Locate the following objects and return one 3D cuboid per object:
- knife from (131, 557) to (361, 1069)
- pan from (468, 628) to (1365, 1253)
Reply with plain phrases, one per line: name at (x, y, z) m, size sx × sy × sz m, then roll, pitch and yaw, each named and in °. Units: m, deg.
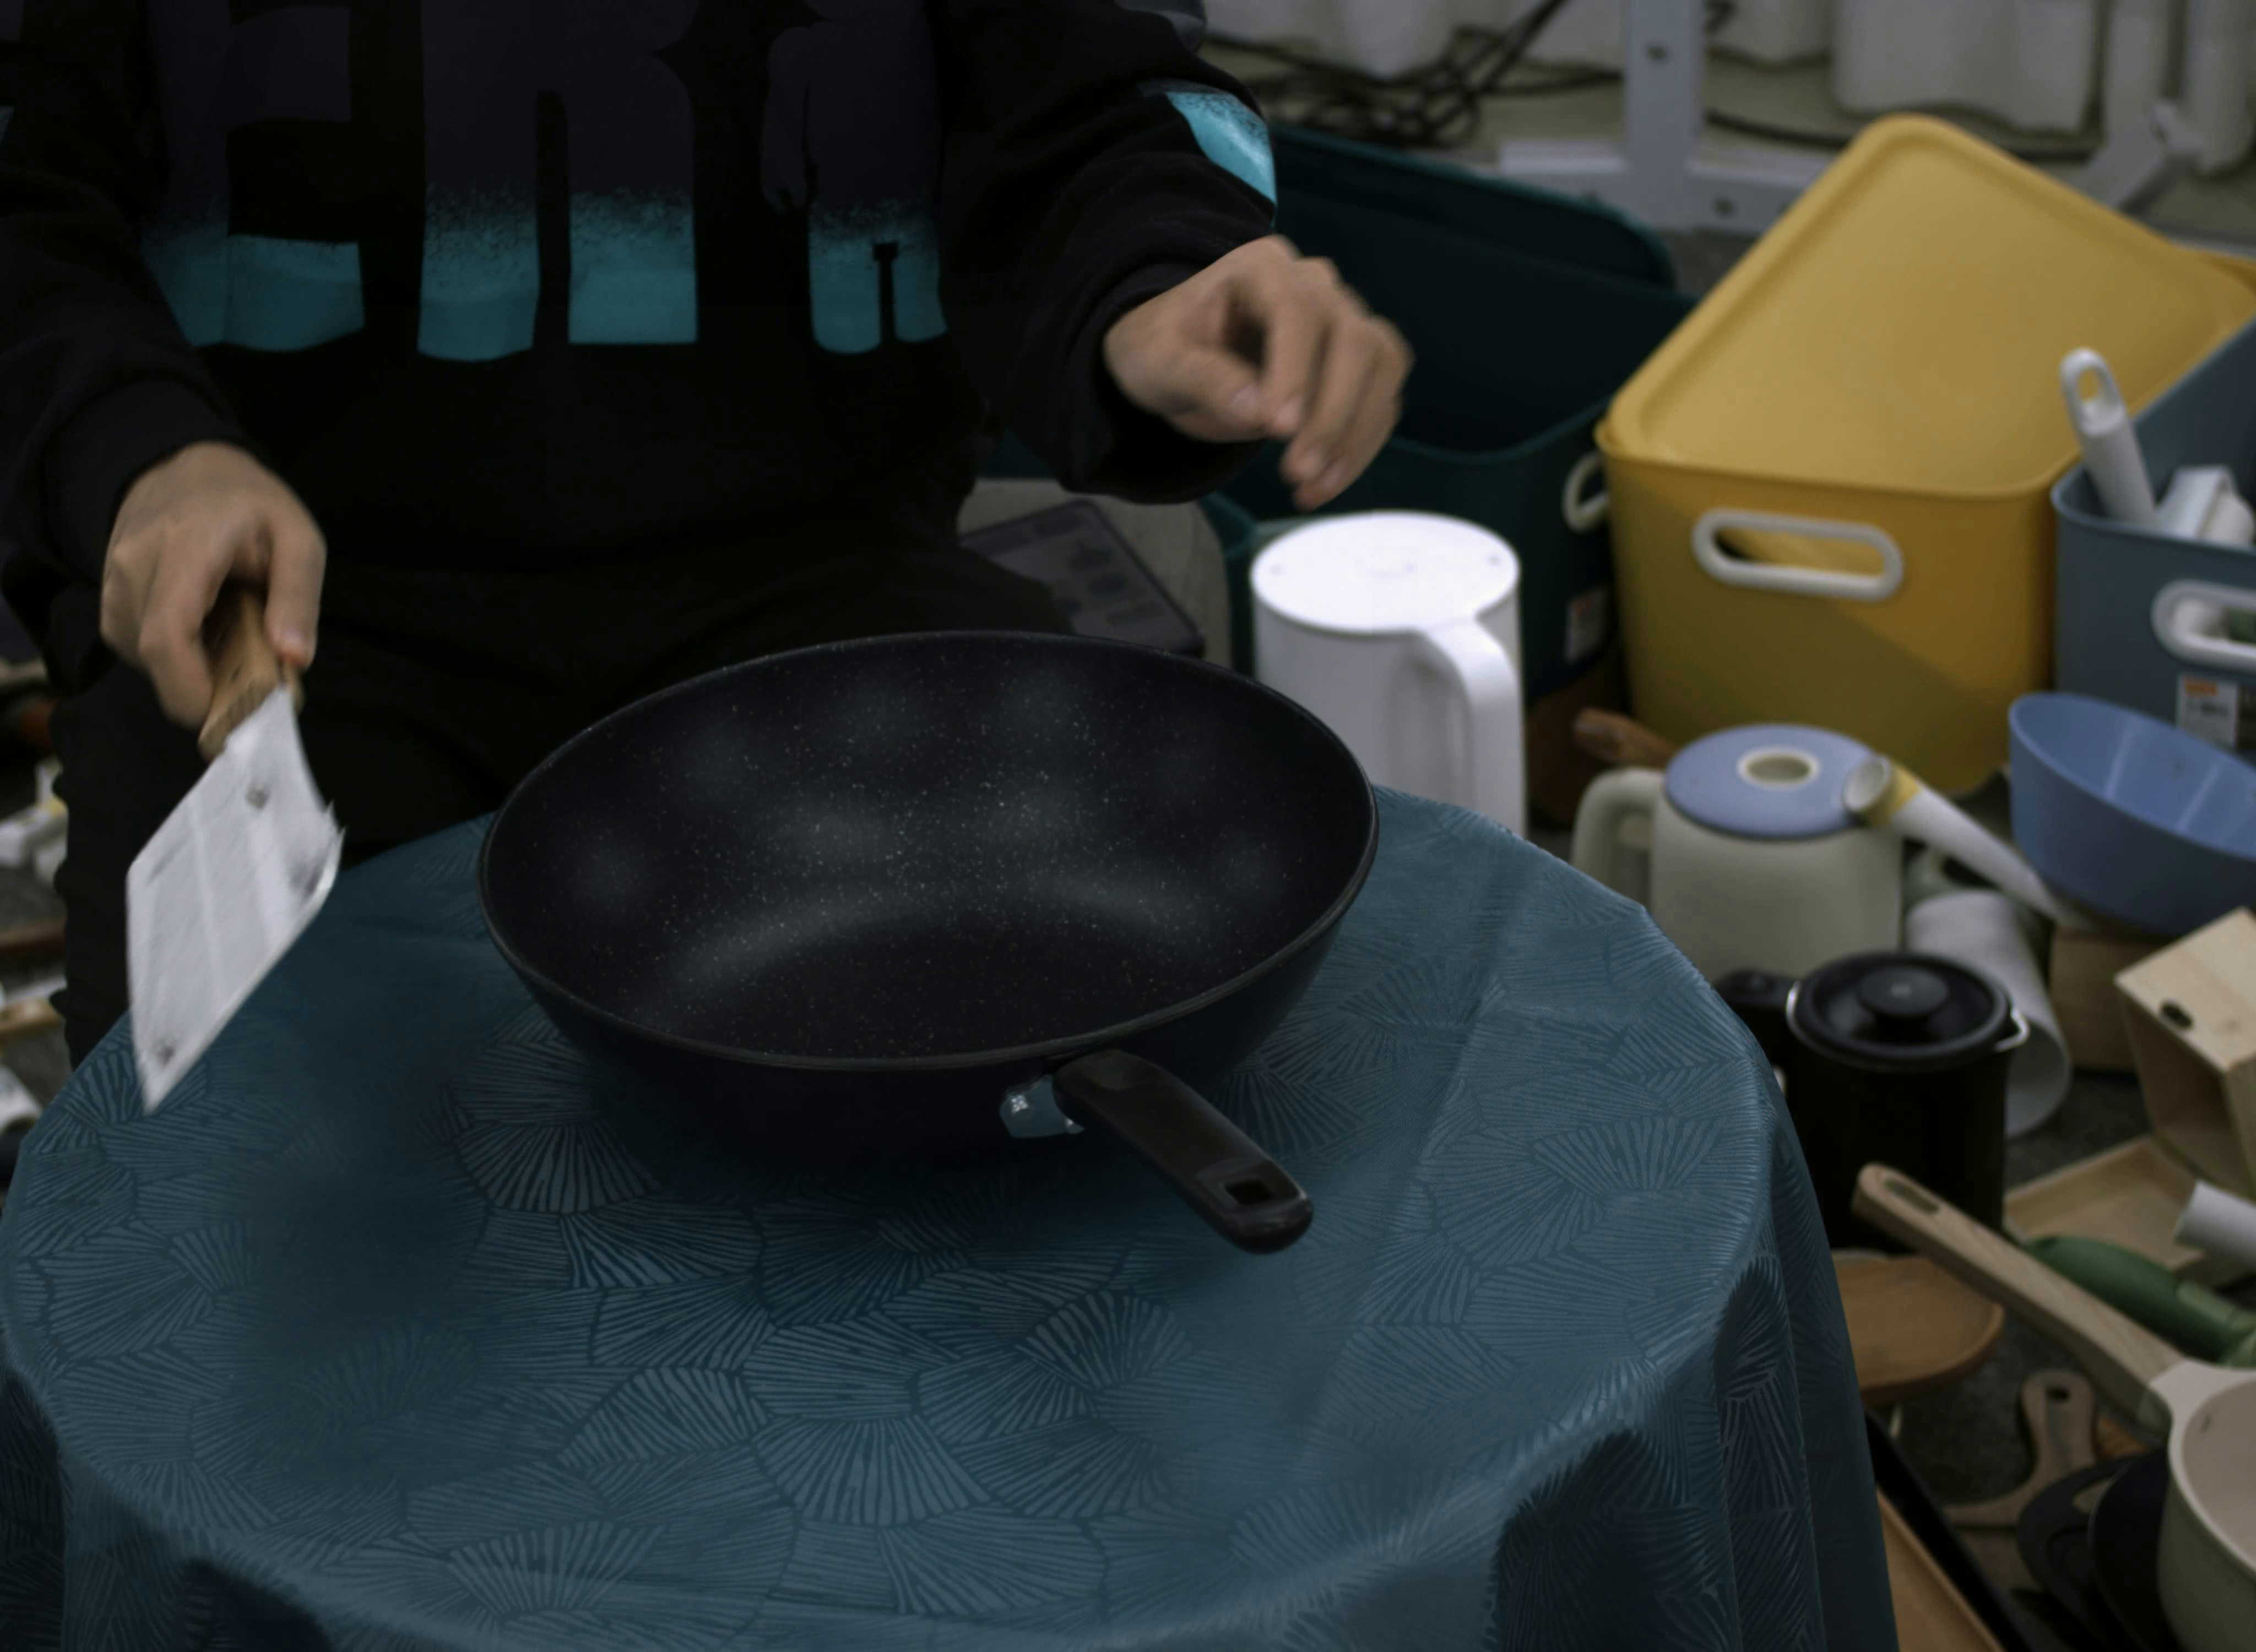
knife at (-0.295, -0.017, 1.864) m, size 0.021 × 0.113 × 0.319 m, roll 37°, pitch 13°, yaw -23°
pan at (-0.041, 0.063, 1.867) m, size 0.311 × 0.110 × 0.480 m, roll -14°, pitch 29°, yaw -17°
